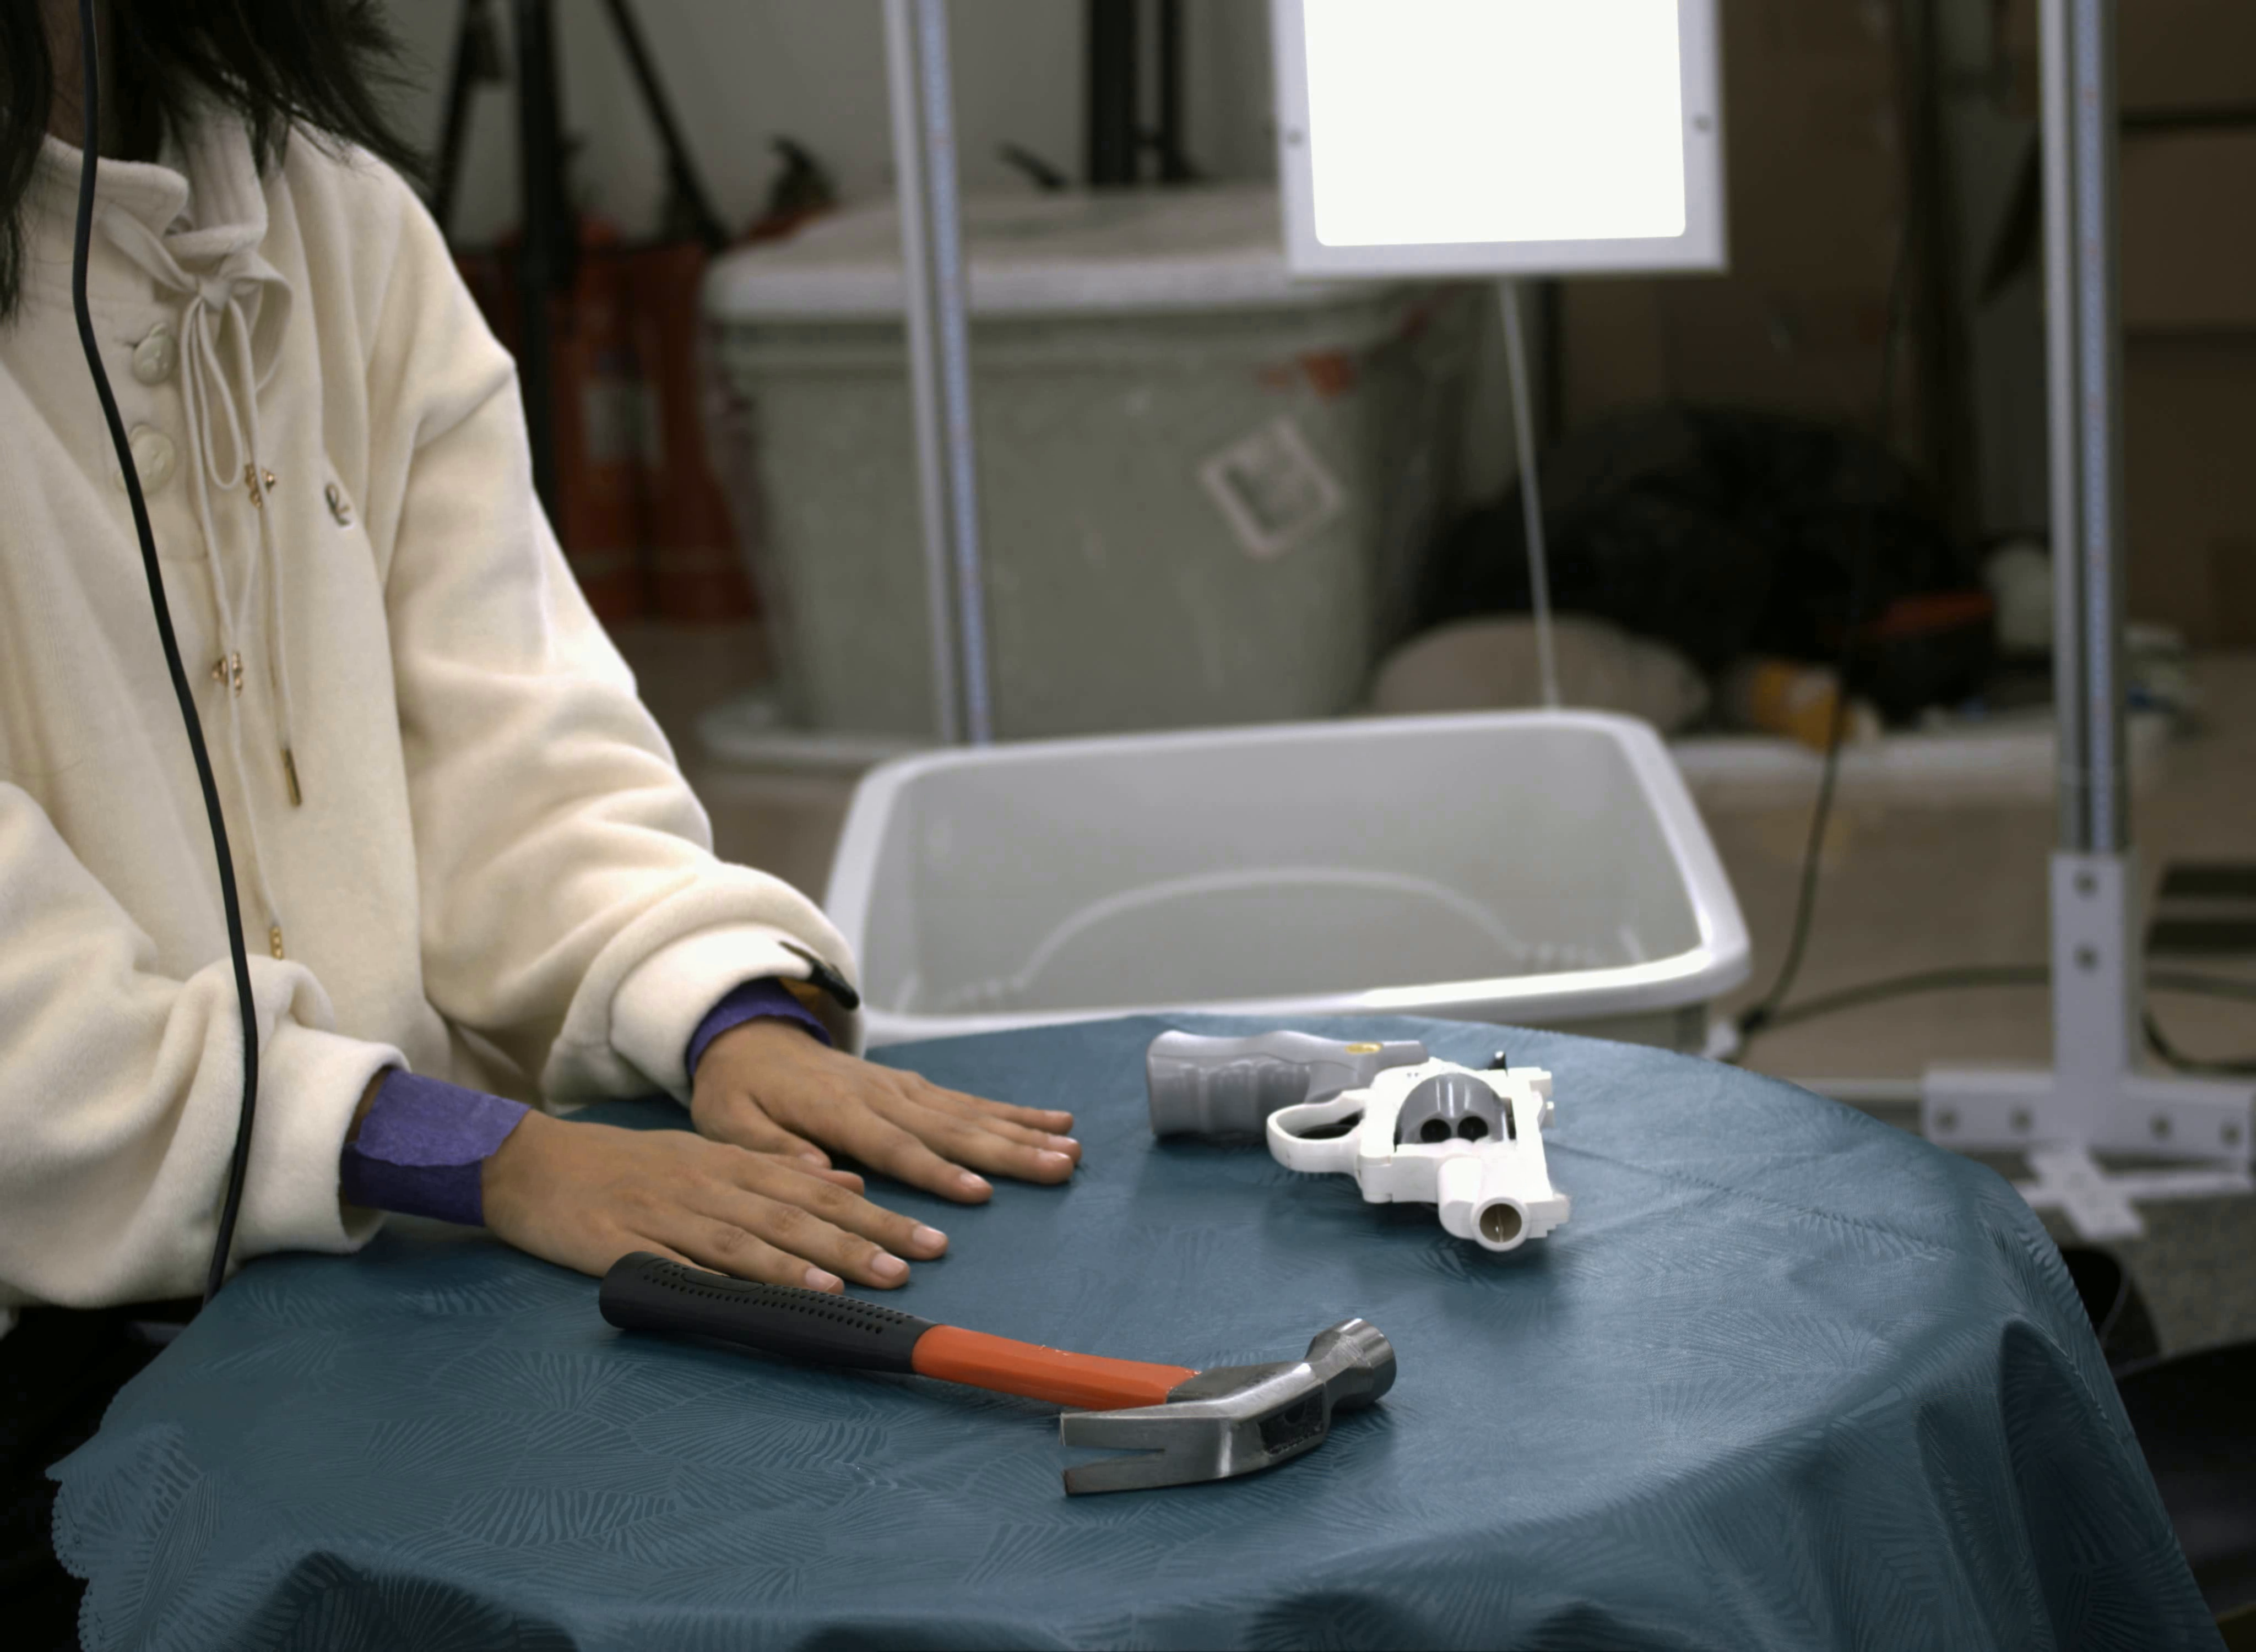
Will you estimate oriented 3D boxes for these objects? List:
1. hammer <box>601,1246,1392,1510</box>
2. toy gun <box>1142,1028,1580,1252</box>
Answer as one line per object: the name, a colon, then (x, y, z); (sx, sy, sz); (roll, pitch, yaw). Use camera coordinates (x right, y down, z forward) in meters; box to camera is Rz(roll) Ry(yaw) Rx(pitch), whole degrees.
hammer: (-0.058, 0.162, 1.715); (0.283, 0.026, 0.108); (6, 27, 40)
toy gun: (0.077, 0.105, 1.876); (0.141, 0.039, 0.208); (-4, 14, 1)
